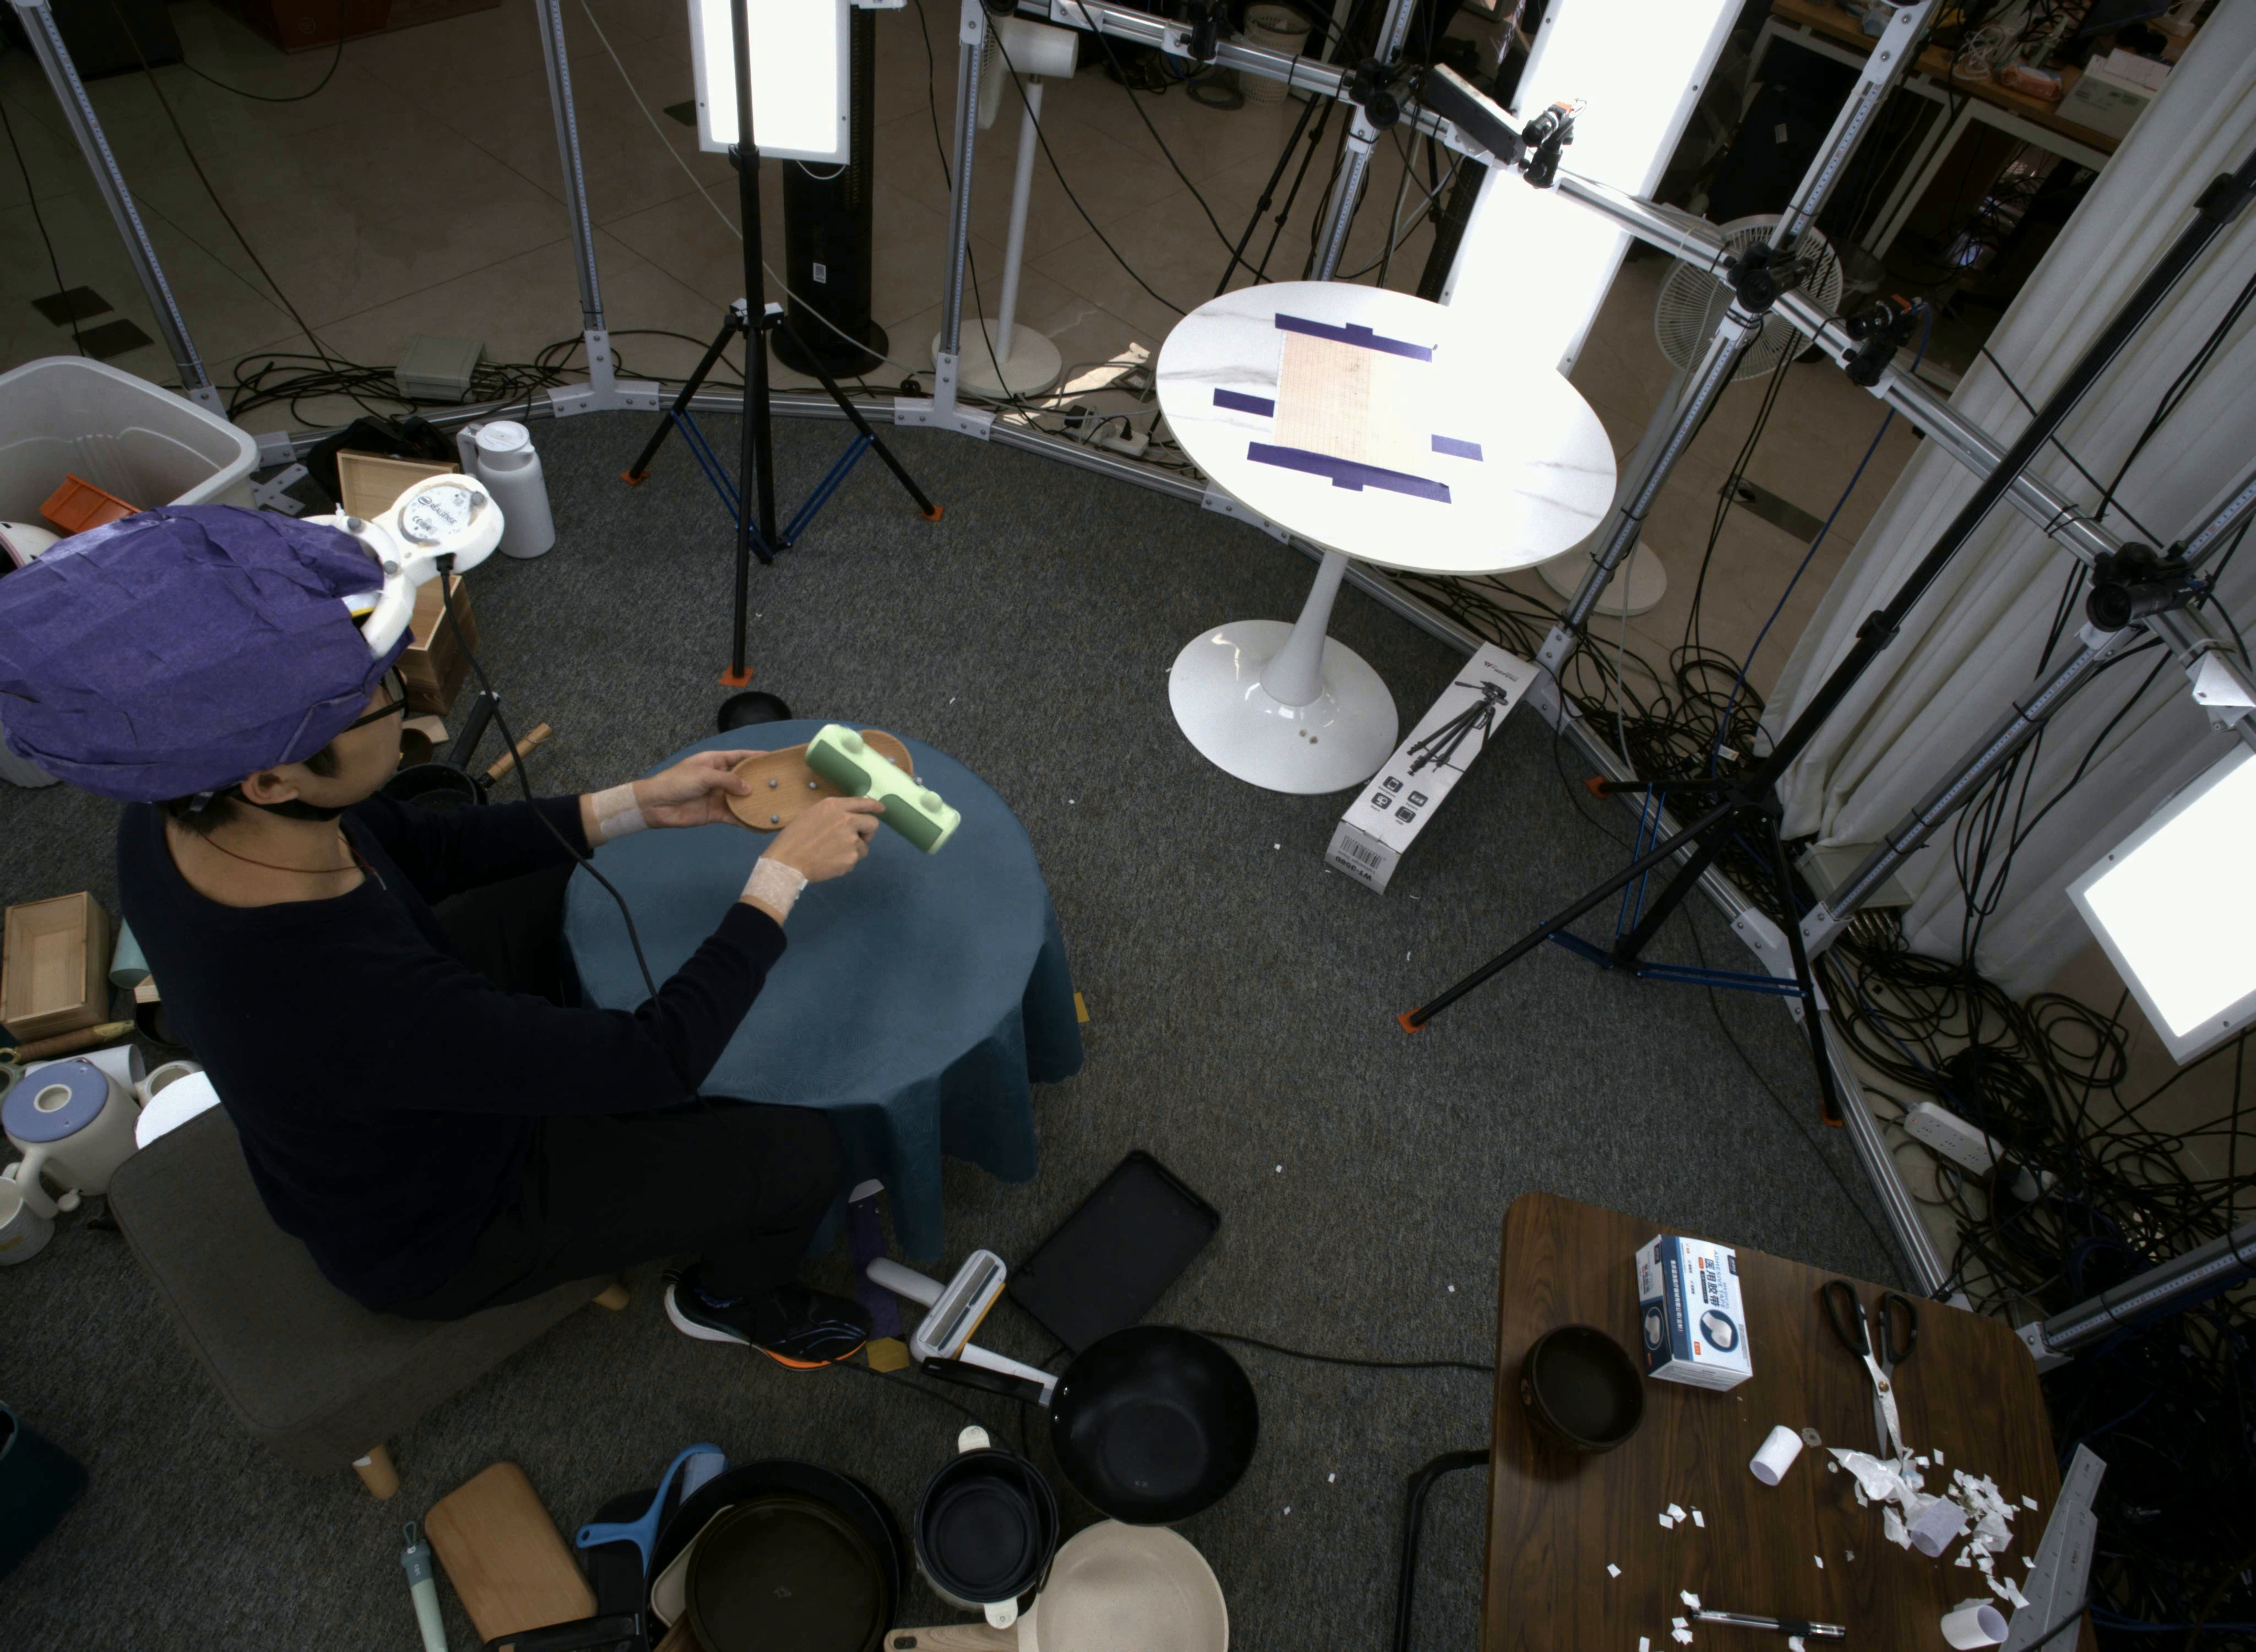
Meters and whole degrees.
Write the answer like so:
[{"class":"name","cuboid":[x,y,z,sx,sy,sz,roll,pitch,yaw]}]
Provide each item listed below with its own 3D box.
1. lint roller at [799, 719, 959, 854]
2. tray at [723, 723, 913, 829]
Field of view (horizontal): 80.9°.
[{"class":"lint roller","cuboid":[-0.299,-0.035,1.480,0.200,0.082,0.181,36,25,-6]},{"class":"tray","cuboid":[-0.368,-0.061,1.546,0.233,0.020,0.101,-17,74,-31]}]
